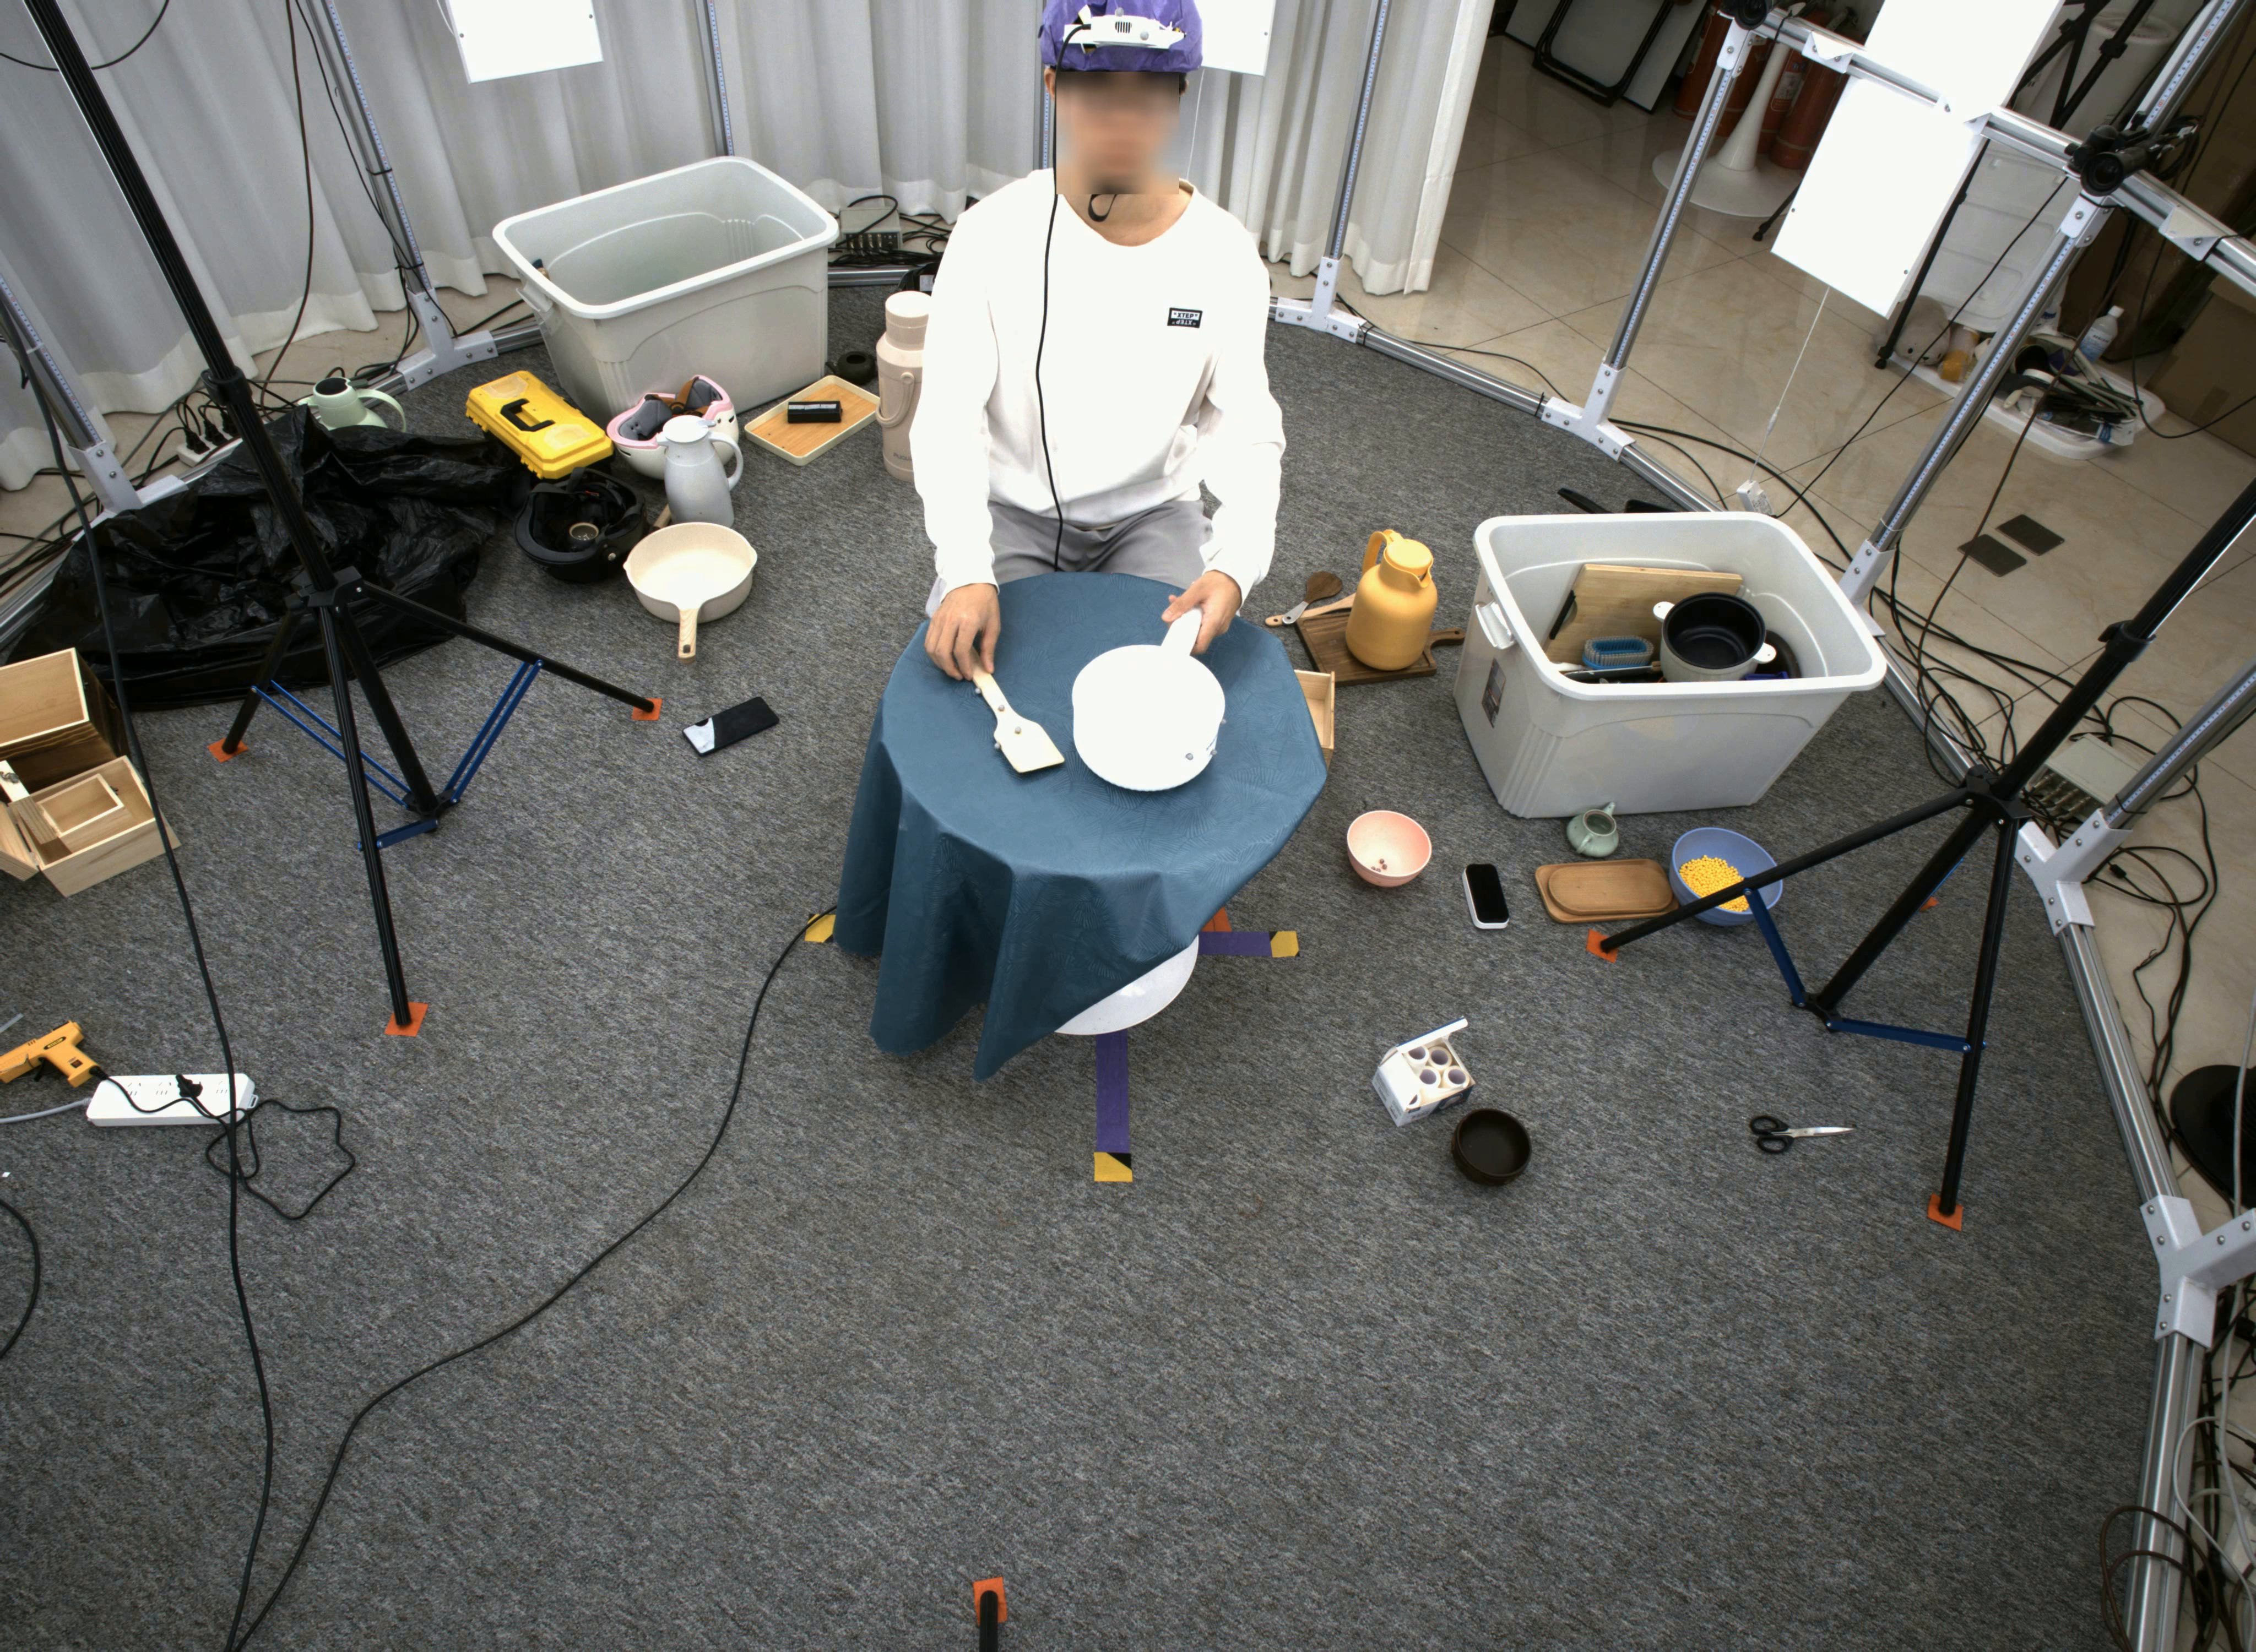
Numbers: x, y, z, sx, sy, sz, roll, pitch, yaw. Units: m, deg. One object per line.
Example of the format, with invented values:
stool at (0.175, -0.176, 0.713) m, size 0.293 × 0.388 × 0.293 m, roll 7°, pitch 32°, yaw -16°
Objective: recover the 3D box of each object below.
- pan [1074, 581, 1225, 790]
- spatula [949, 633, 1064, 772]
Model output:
pan at (0.050, -0.196, 1.772) m, size 0.202 × 0.099 × 0.362 m, roll 17°, pitch 49°, yaw 10°
spatula at (-0.184, -0.179, 1.799) m, size 0.072 × 0.010 × 0.299 m, roll -17°, pitch 51°, yaw -23°
